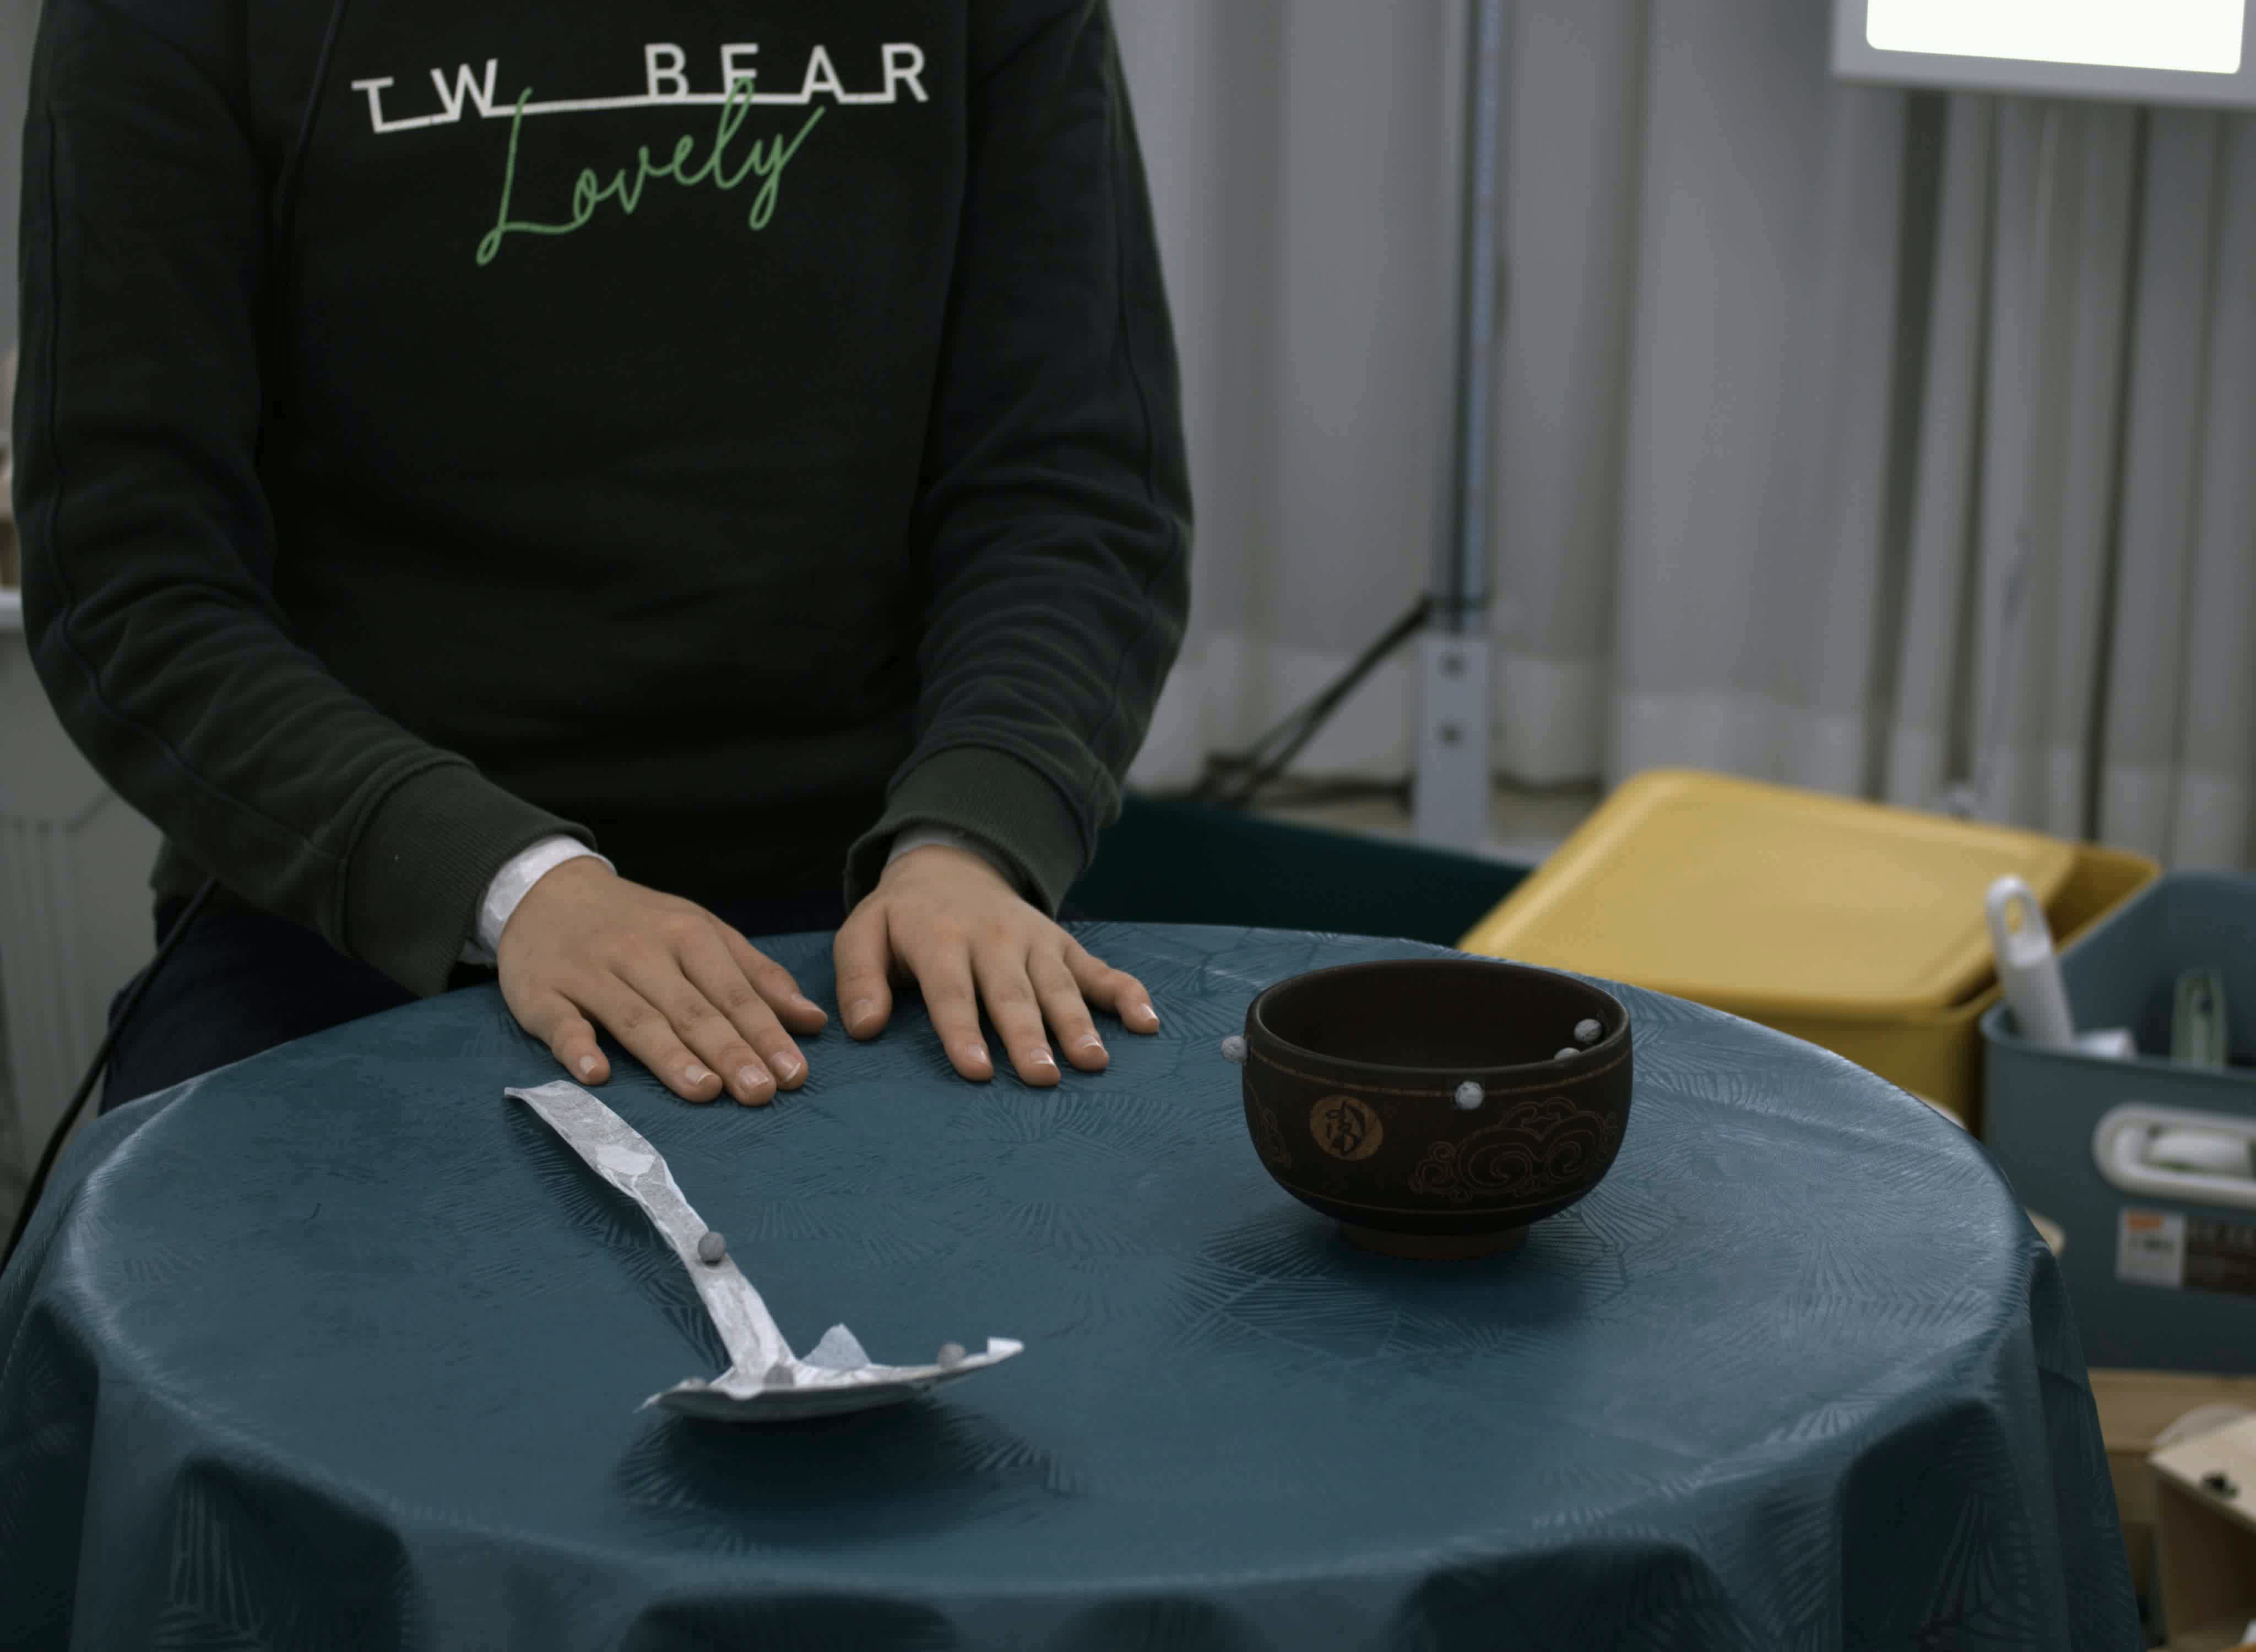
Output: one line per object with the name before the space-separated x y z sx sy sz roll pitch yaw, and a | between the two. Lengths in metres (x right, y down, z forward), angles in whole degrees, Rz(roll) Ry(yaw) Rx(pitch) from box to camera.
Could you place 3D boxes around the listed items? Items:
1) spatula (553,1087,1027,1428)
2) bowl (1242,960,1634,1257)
spatula | -0.124 0.116 1.537 0.099 0.045 0.361 -7 18 -18
bowl | 0.093 0.088 1.585 0.117 0.070 0.117 1 14 0
